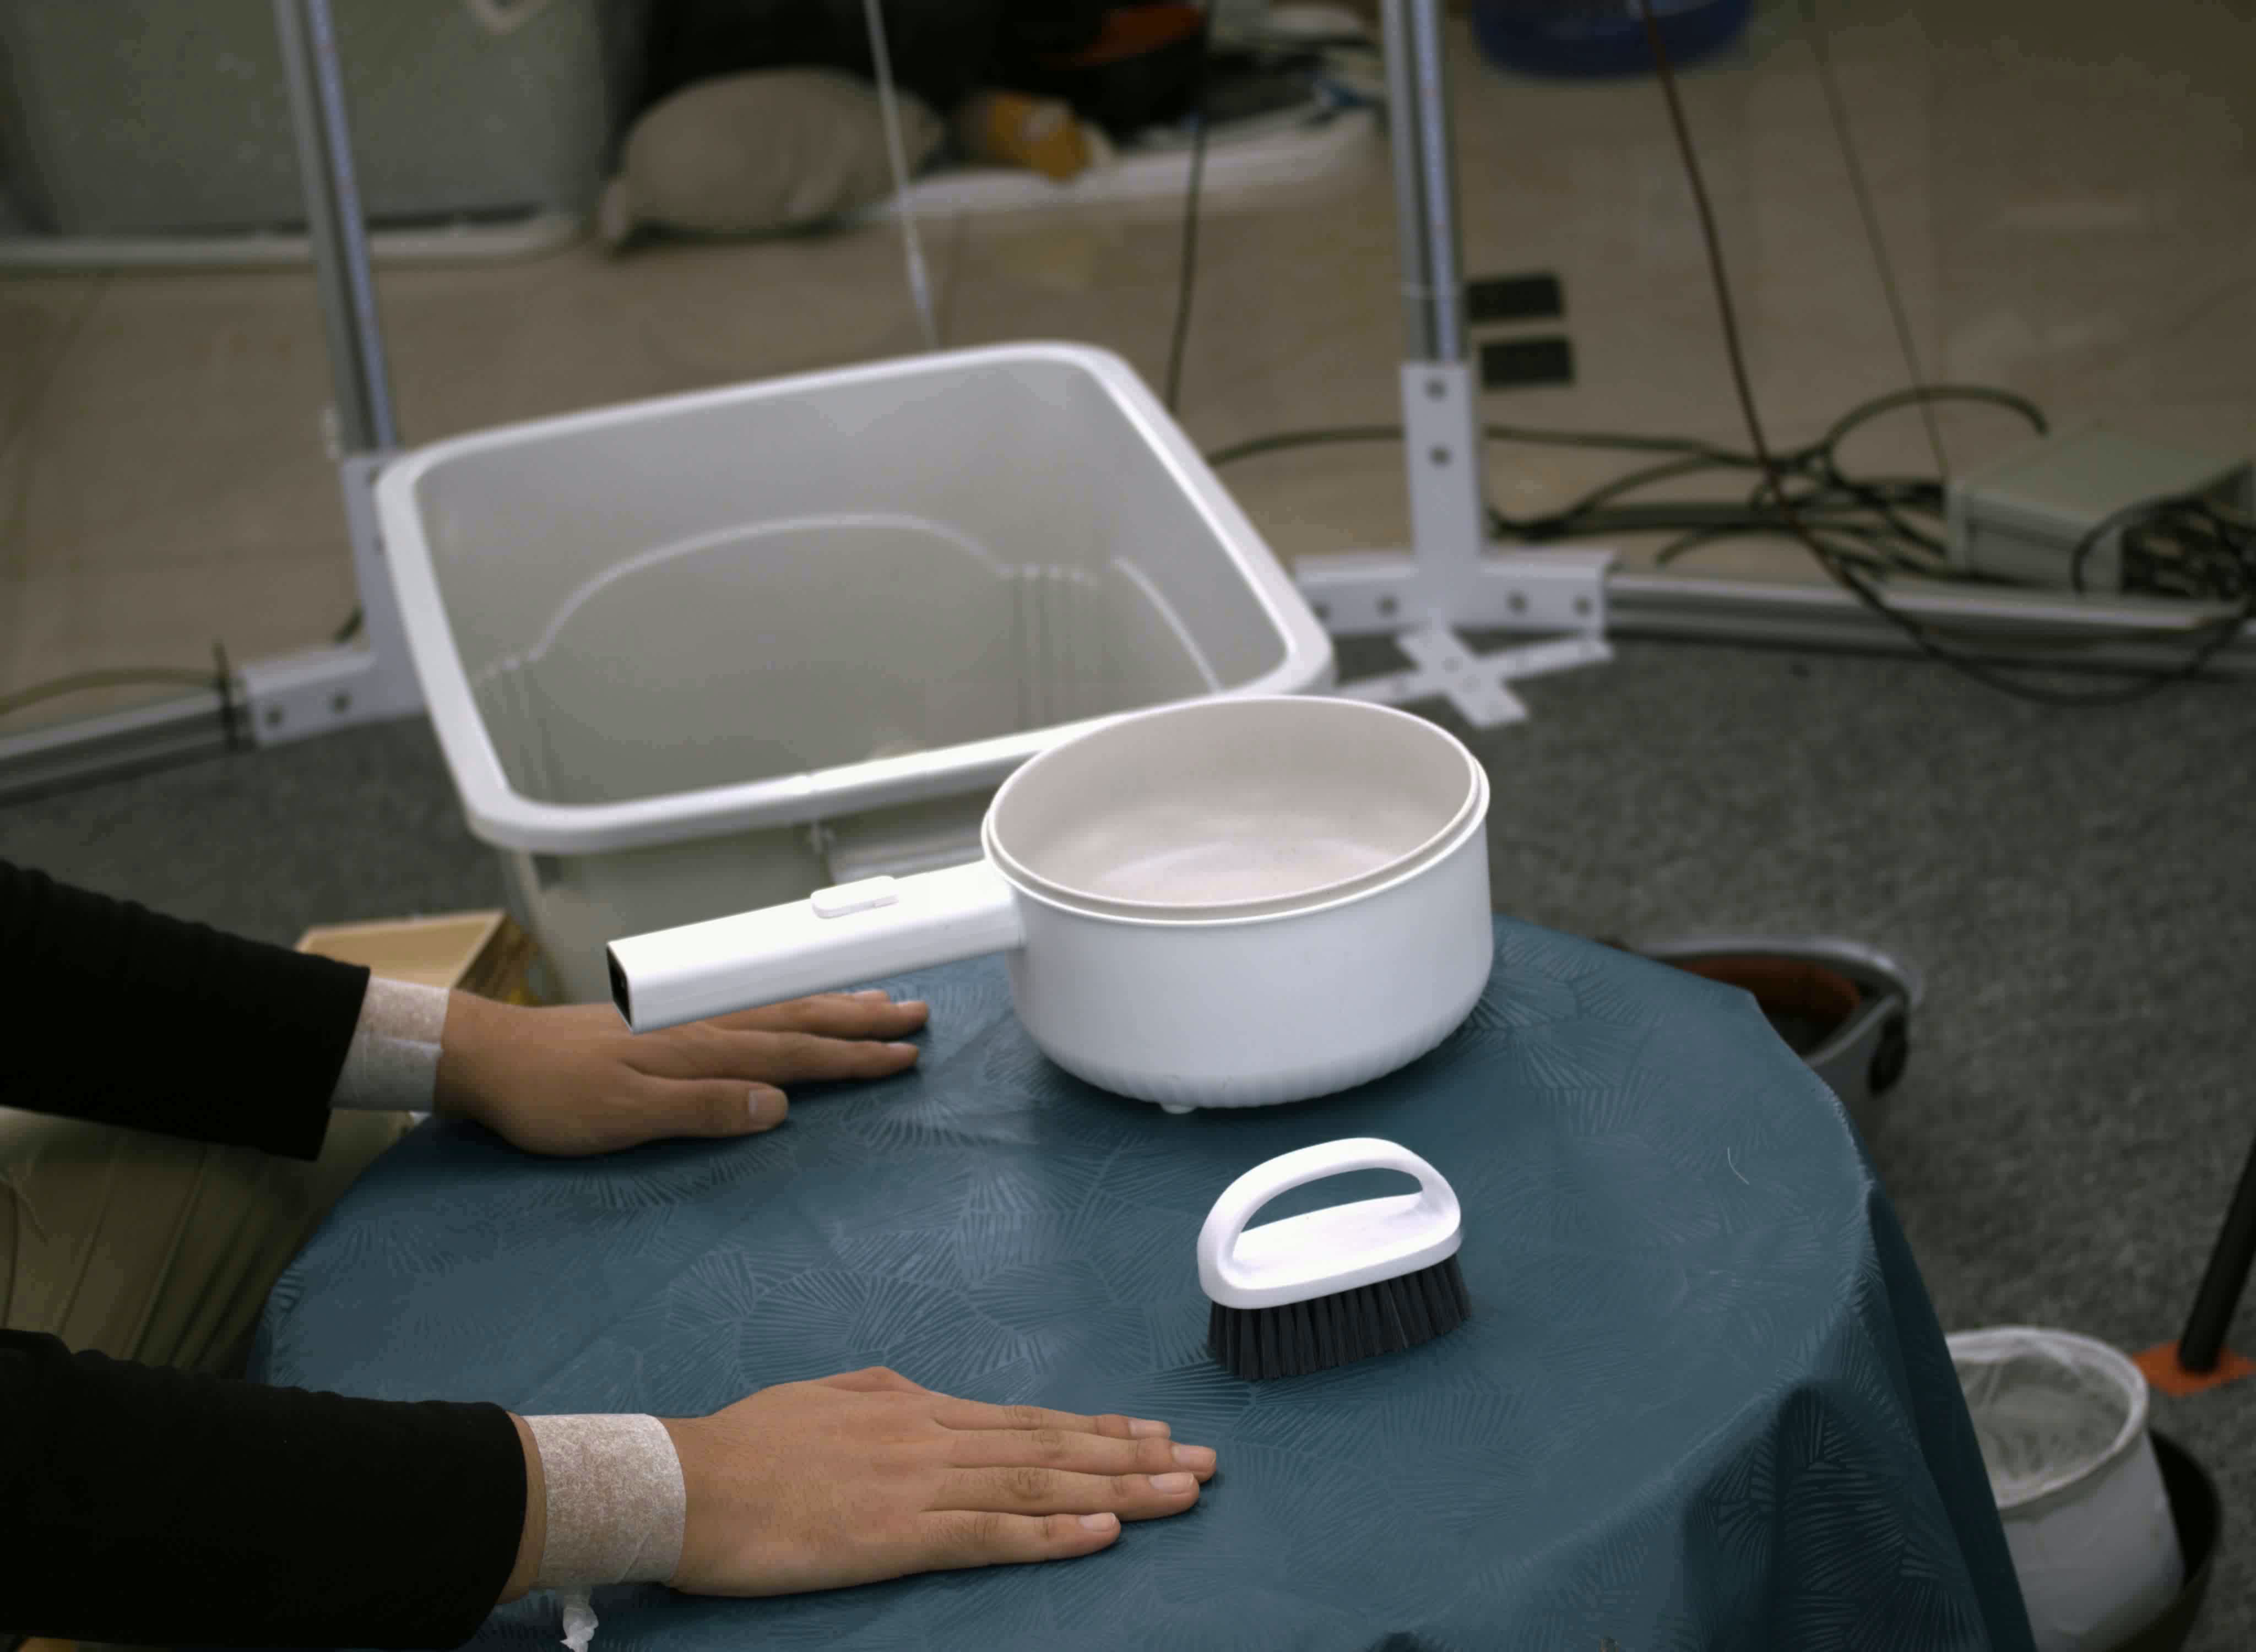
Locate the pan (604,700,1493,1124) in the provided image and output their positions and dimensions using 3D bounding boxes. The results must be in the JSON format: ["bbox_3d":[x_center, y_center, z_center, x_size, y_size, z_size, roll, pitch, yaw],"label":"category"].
[{"bbox_3d":[-0.026,0.055,2.223,0.353,0.104,0.198,-14,28,-15],"label":"pan"}]

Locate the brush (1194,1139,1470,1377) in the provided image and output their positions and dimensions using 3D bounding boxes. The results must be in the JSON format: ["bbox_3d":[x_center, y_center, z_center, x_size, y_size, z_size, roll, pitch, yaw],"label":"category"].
[{"bbox_3d":[0.071,0.149,2.022,0.099,0.073,0.049,-13,26,-14],"label":"brush"}]
